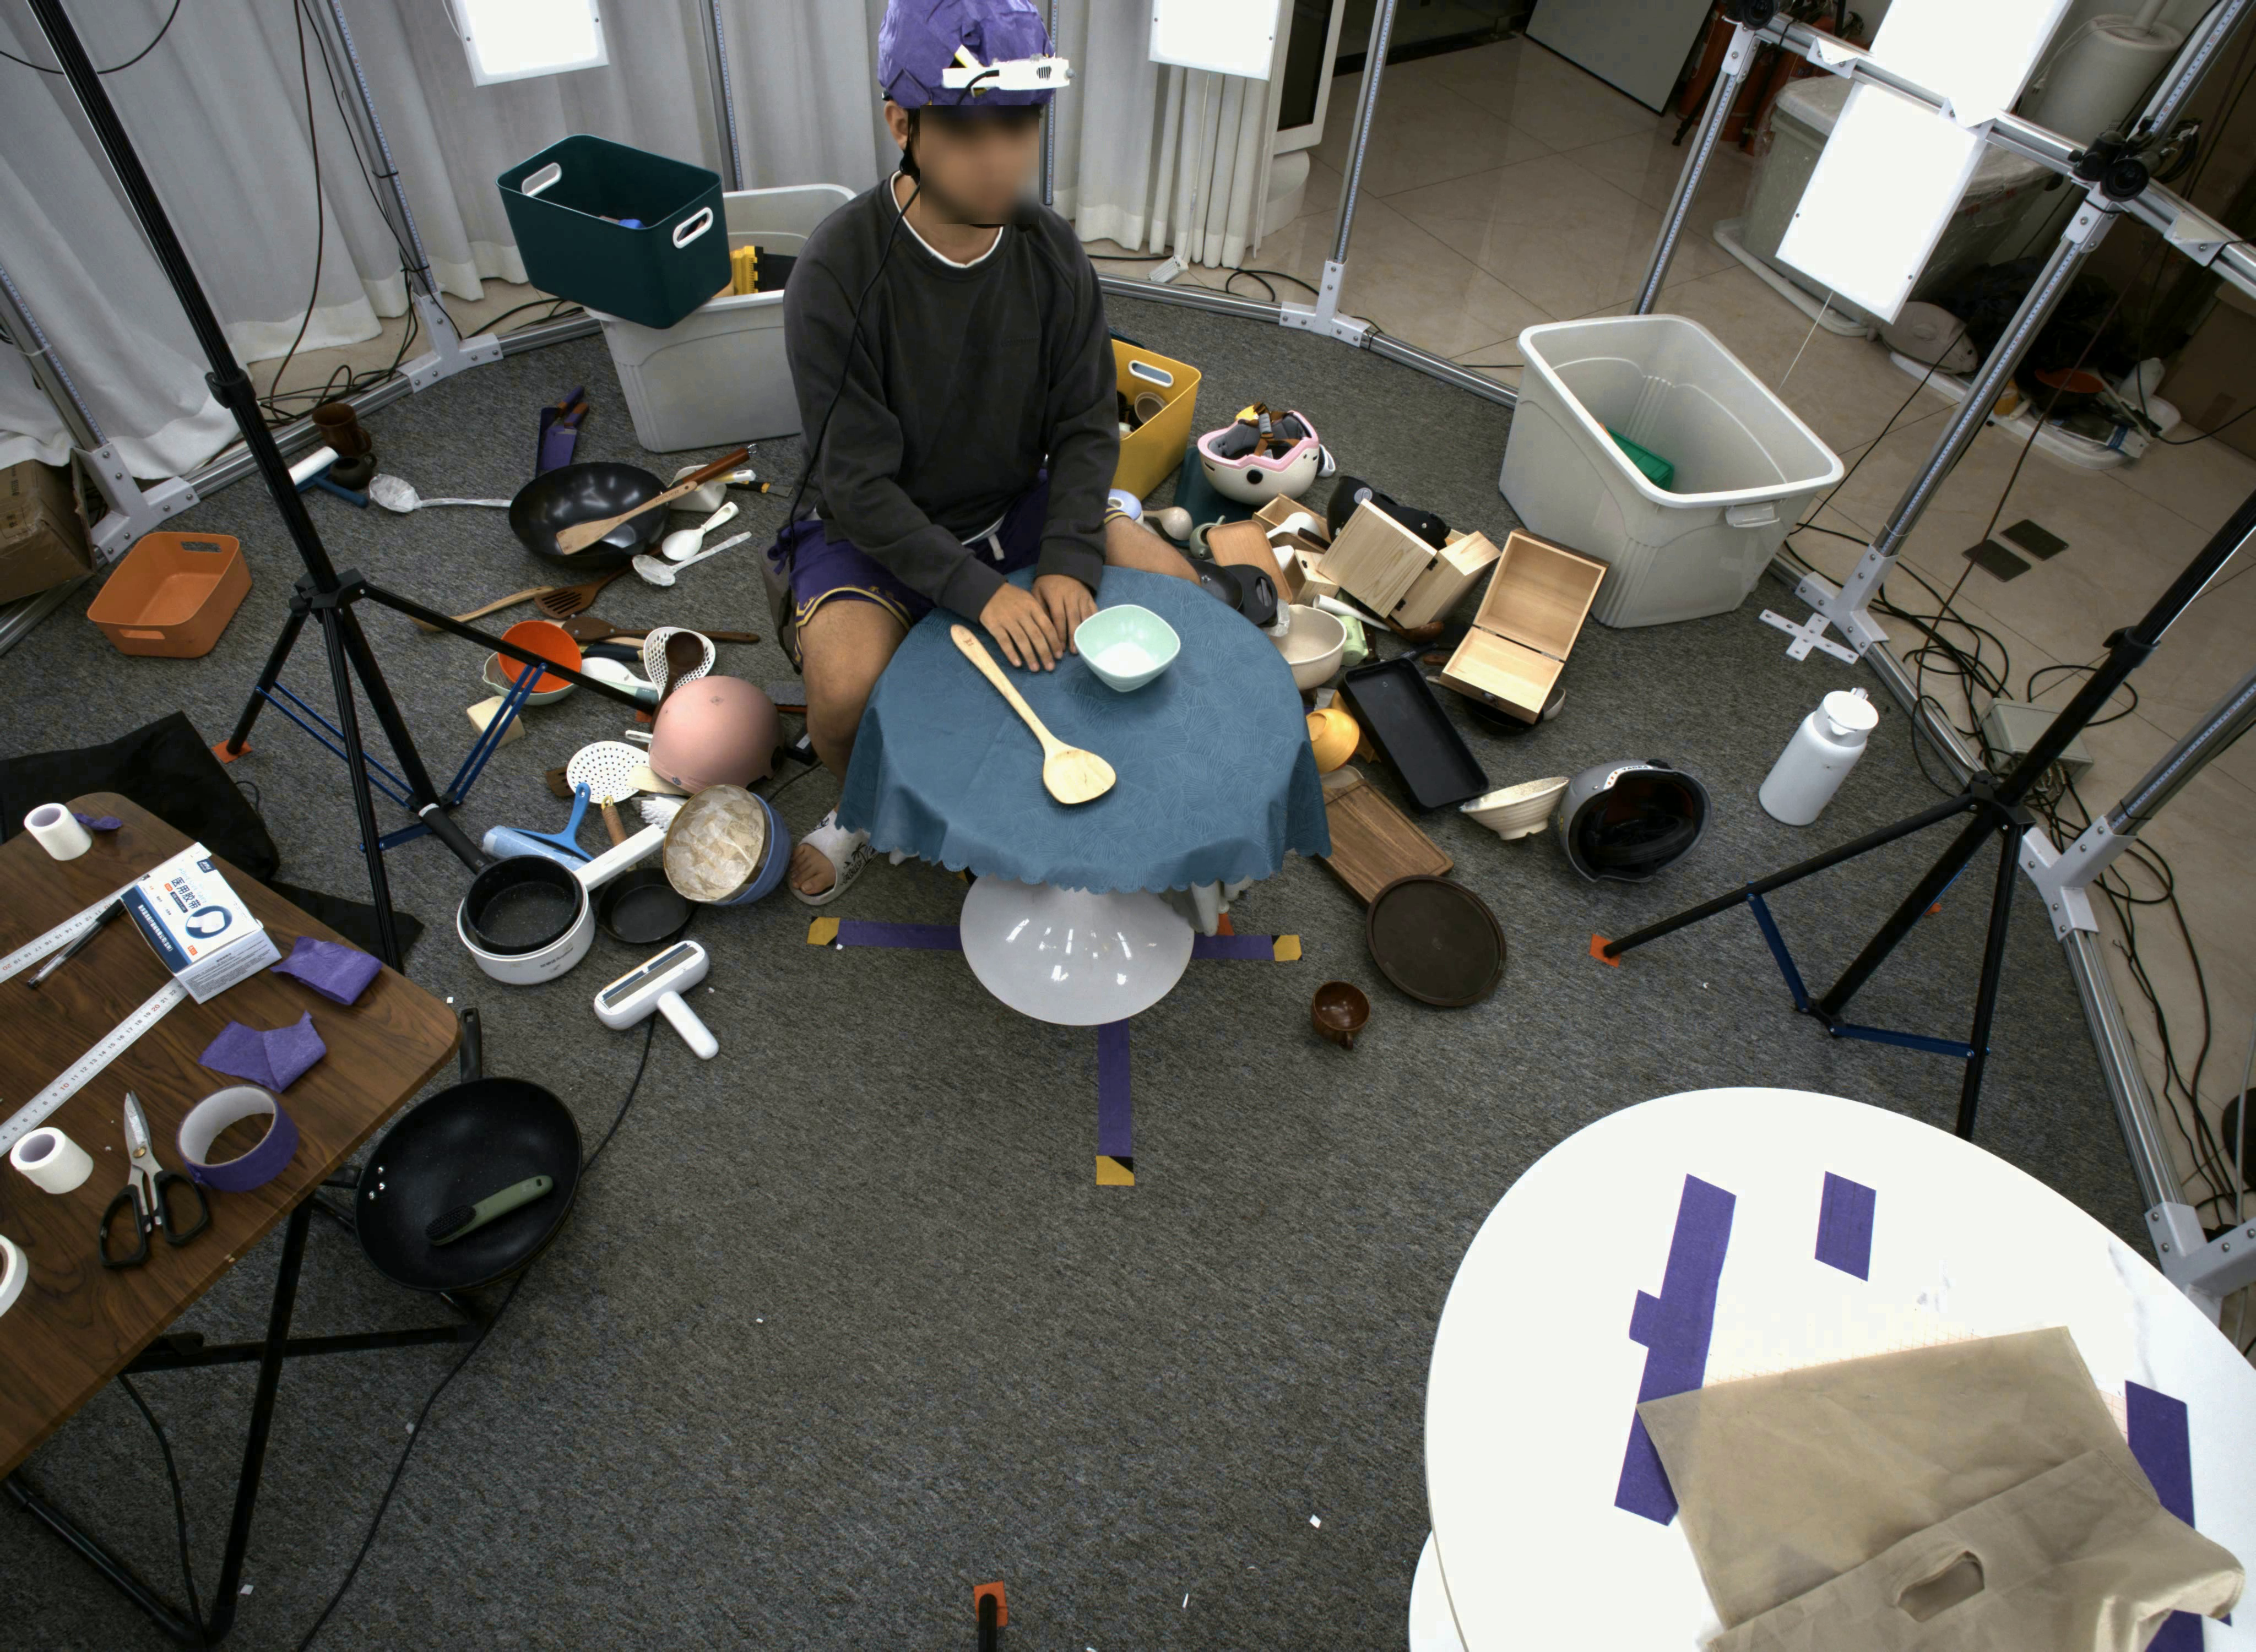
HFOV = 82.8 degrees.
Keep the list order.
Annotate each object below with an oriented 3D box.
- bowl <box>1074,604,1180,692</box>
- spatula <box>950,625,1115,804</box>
[{"bbox_3d":[-0.003,-0.247,1.846,0.151,0.057,0.155,3,50,-3],"label":"bowl"},{"bbox_3d":[-0.153,-0.163,1.786,0.096,0.018,0.398,-23,55,-24],"label":"spatula"}]
